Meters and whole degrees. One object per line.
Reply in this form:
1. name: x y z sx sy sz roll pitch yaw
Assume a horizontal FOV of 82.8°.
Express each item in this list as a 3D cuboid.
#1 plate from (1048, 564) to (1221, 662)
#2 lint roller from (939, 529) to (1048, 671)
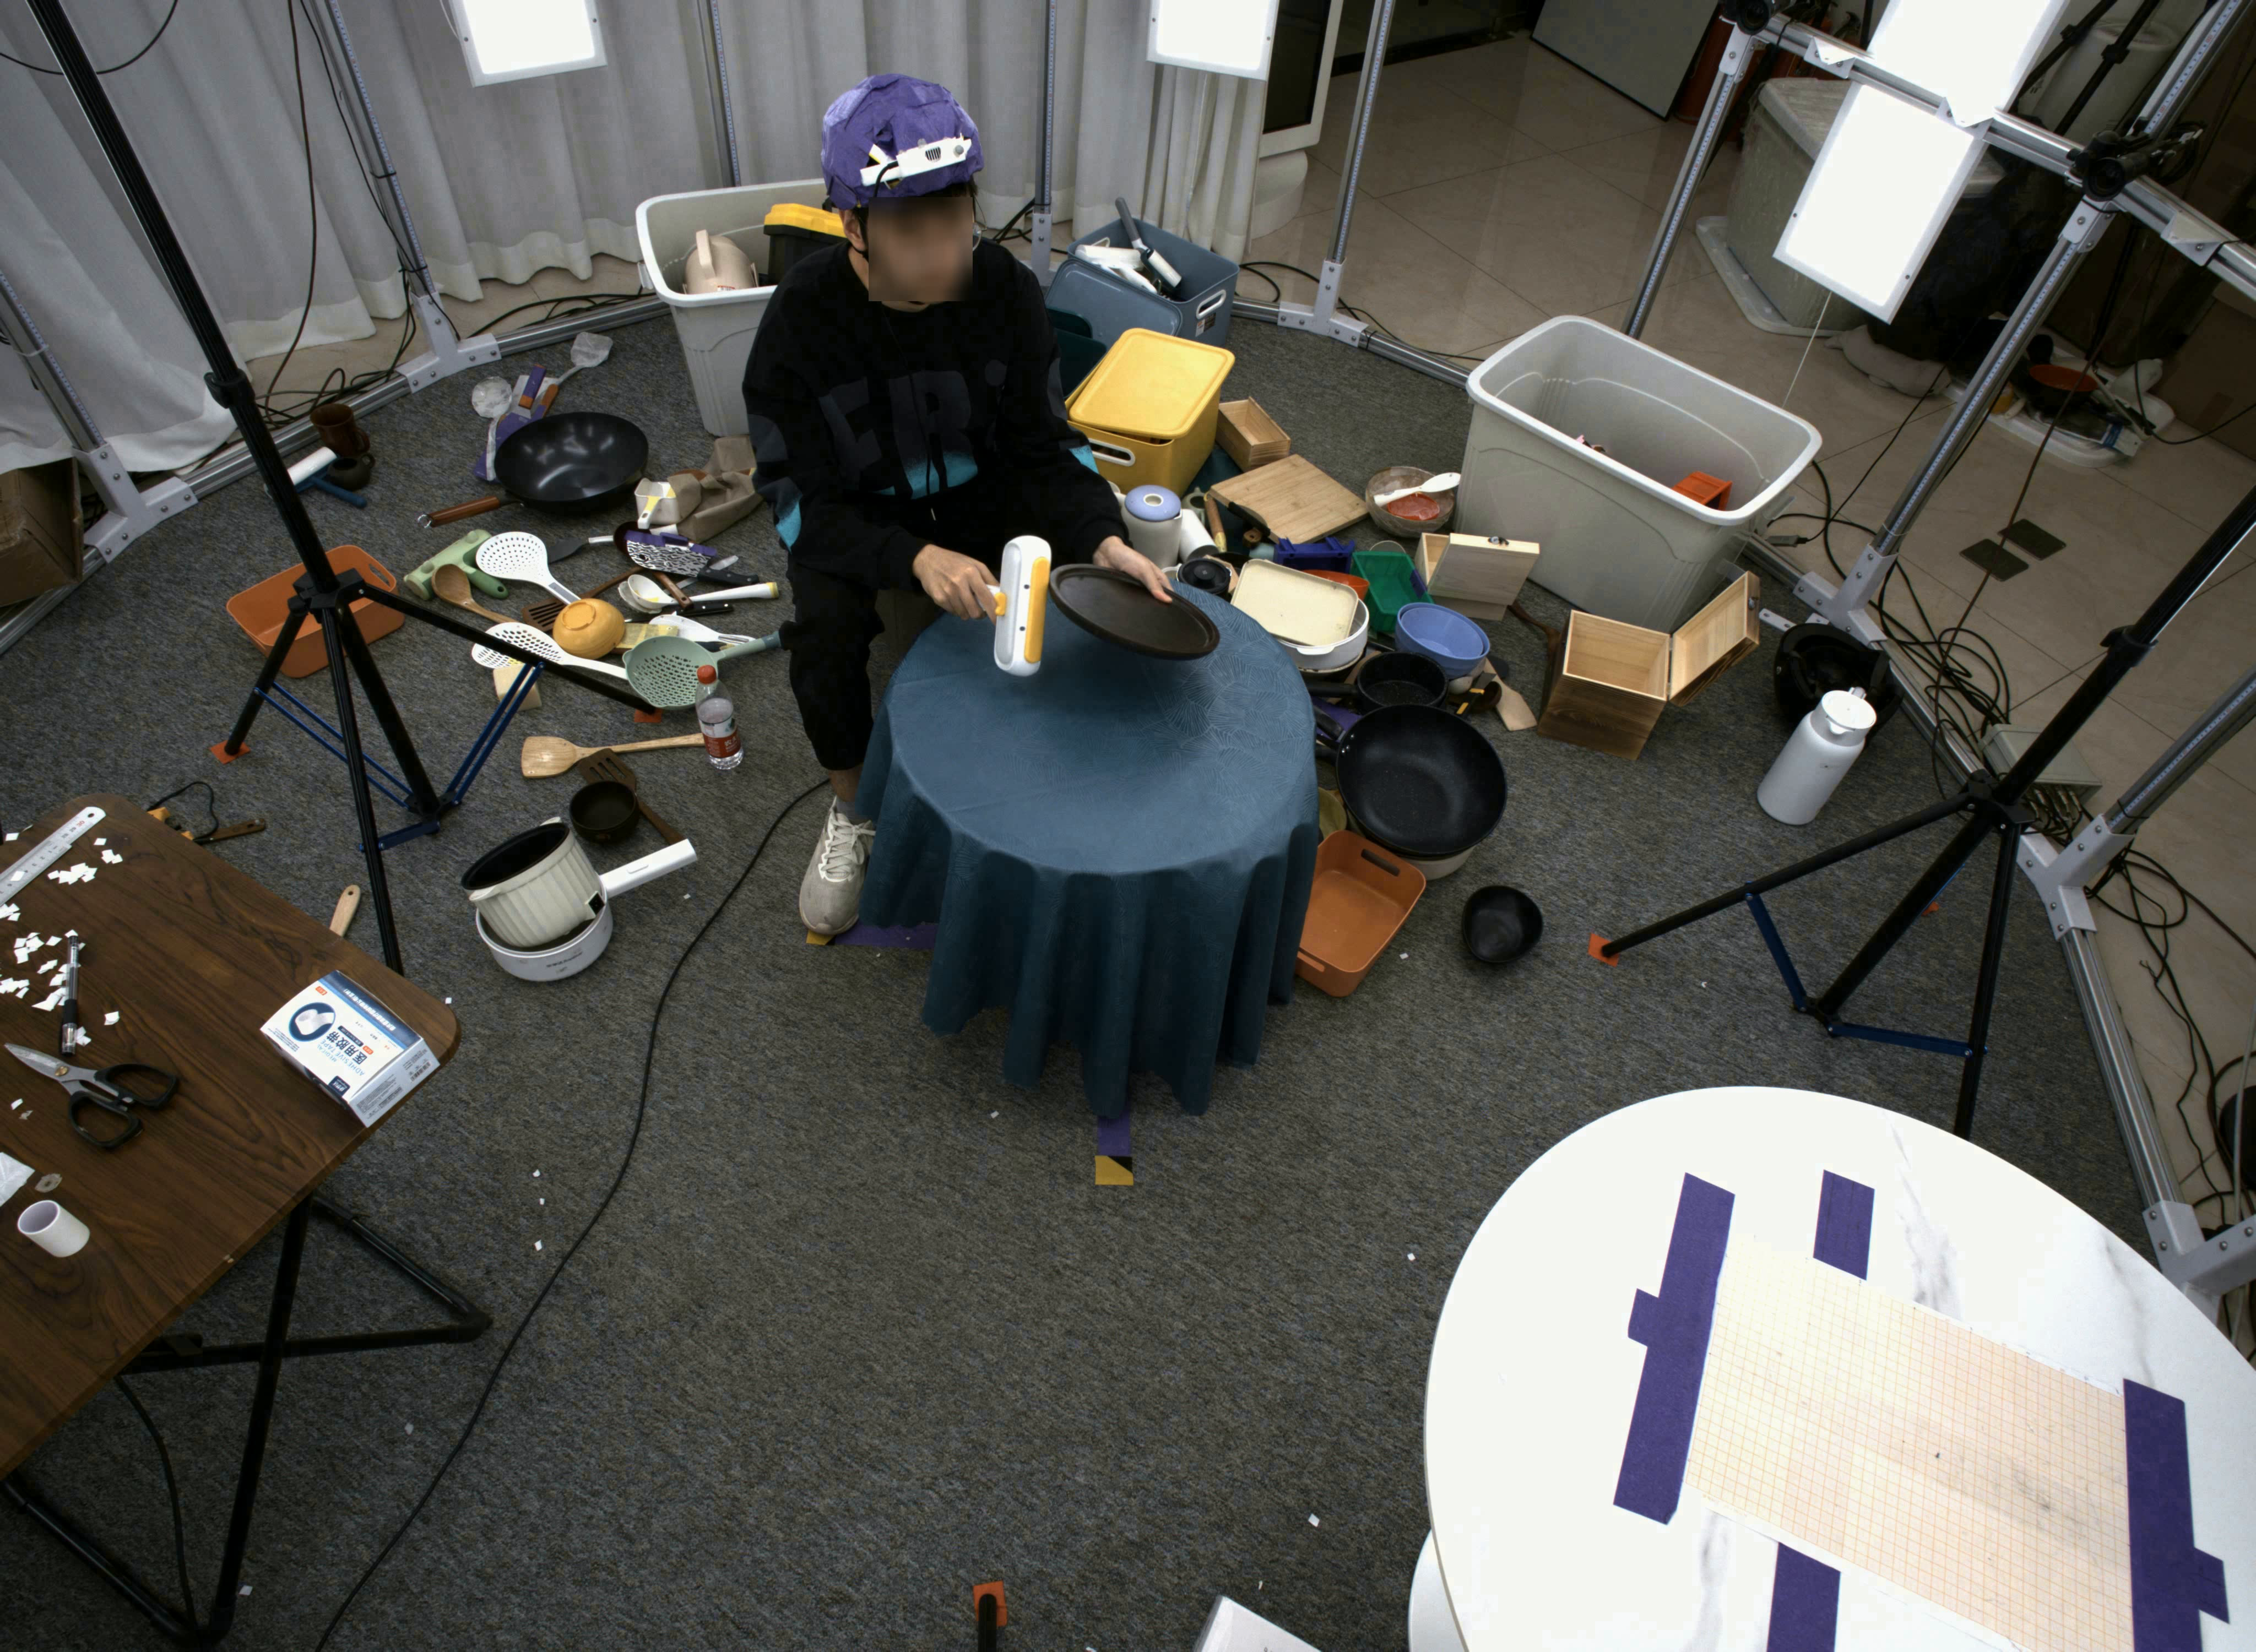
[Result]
1. plate: 0.008 -0.297 1.788 0.254 0.028 0.260 16 29 -9
2. lint roller: -0.189 -0.323 1.818 0.074 0.191 0.194 -12 19 -41
